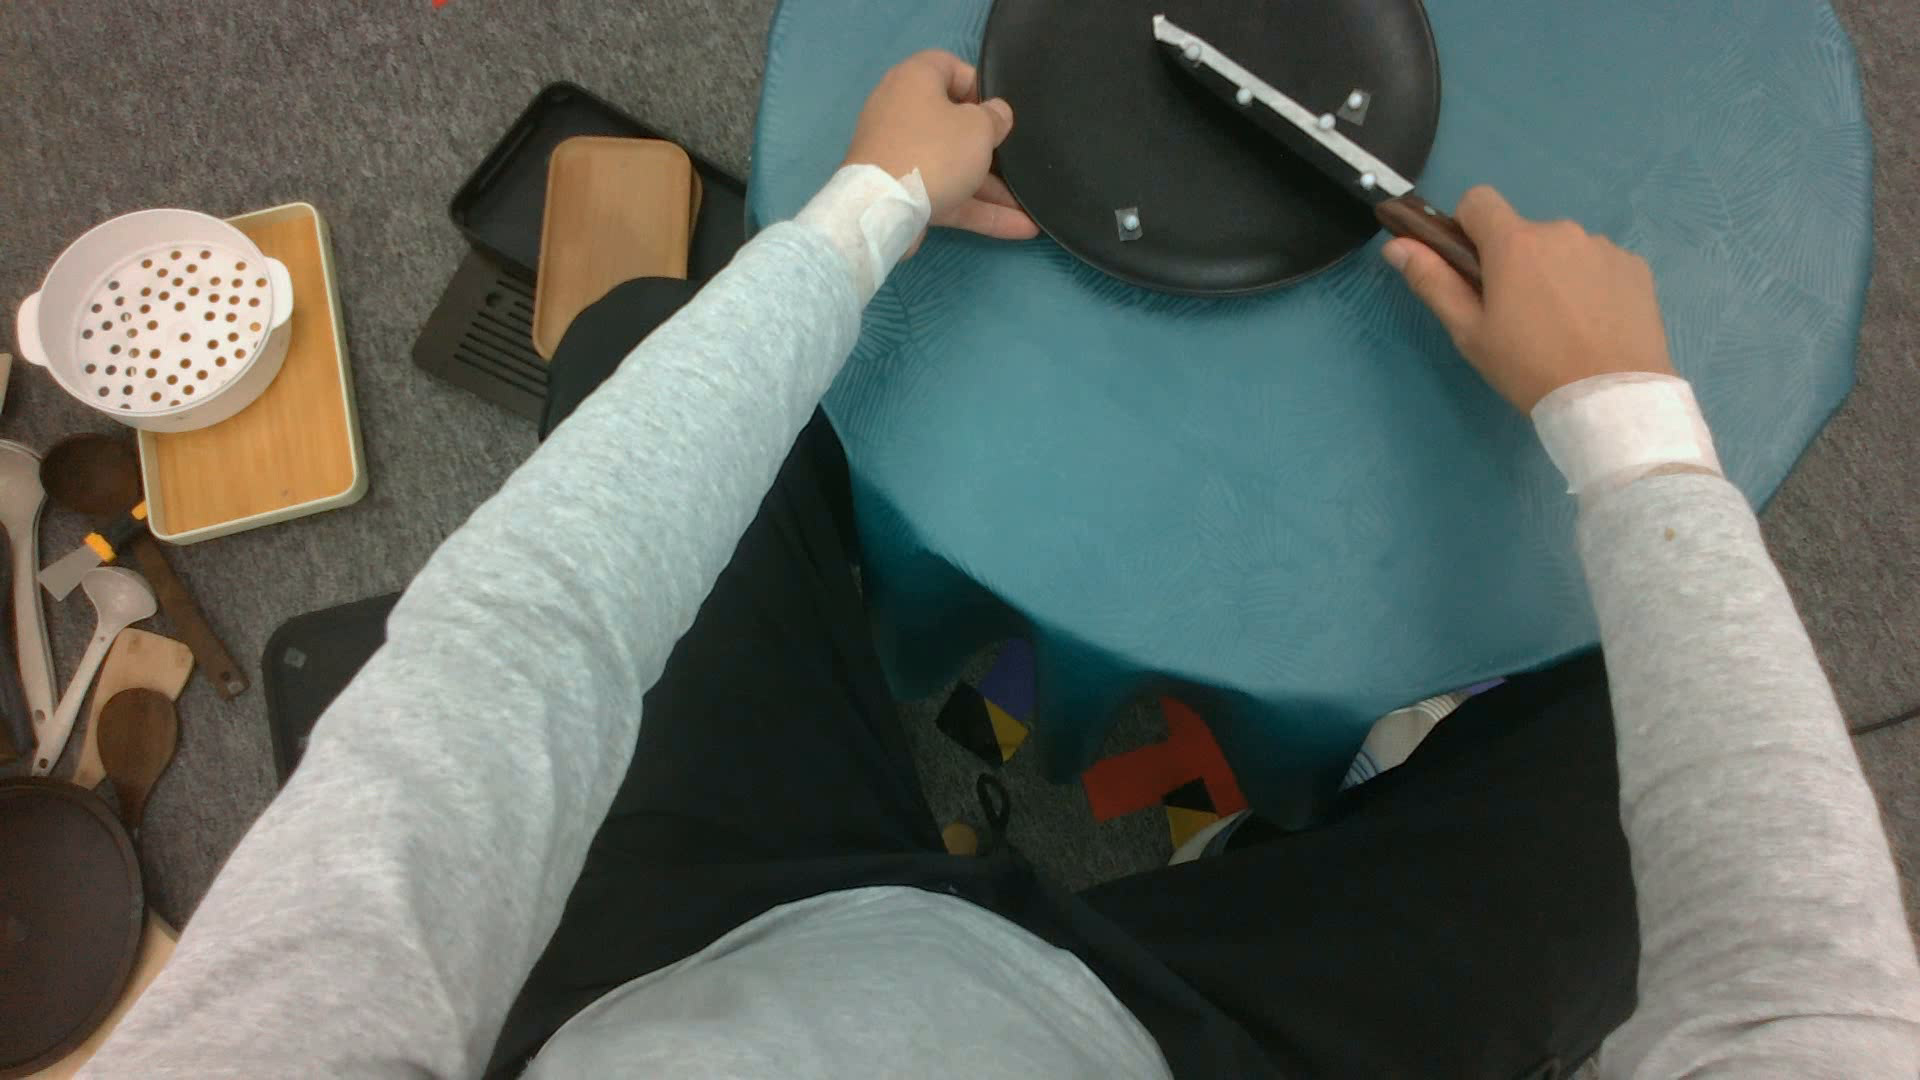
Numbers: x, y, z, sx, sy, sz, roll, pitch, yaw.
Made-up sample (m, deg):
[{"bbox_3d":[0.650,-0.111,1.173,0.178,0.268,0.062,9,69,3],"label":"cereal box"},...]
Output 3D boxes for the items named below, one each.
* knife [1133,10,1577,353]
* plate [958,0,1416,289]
[{"bbox_3d":[0.196,-0.192,0.708,0.289,0.020,0.050,43,44,15],"label":"knife"},{"bbox_3d":[0.121,-0.247,0.740,0.244,0.023,0.245,0,80,0],"label":"plate"}]
